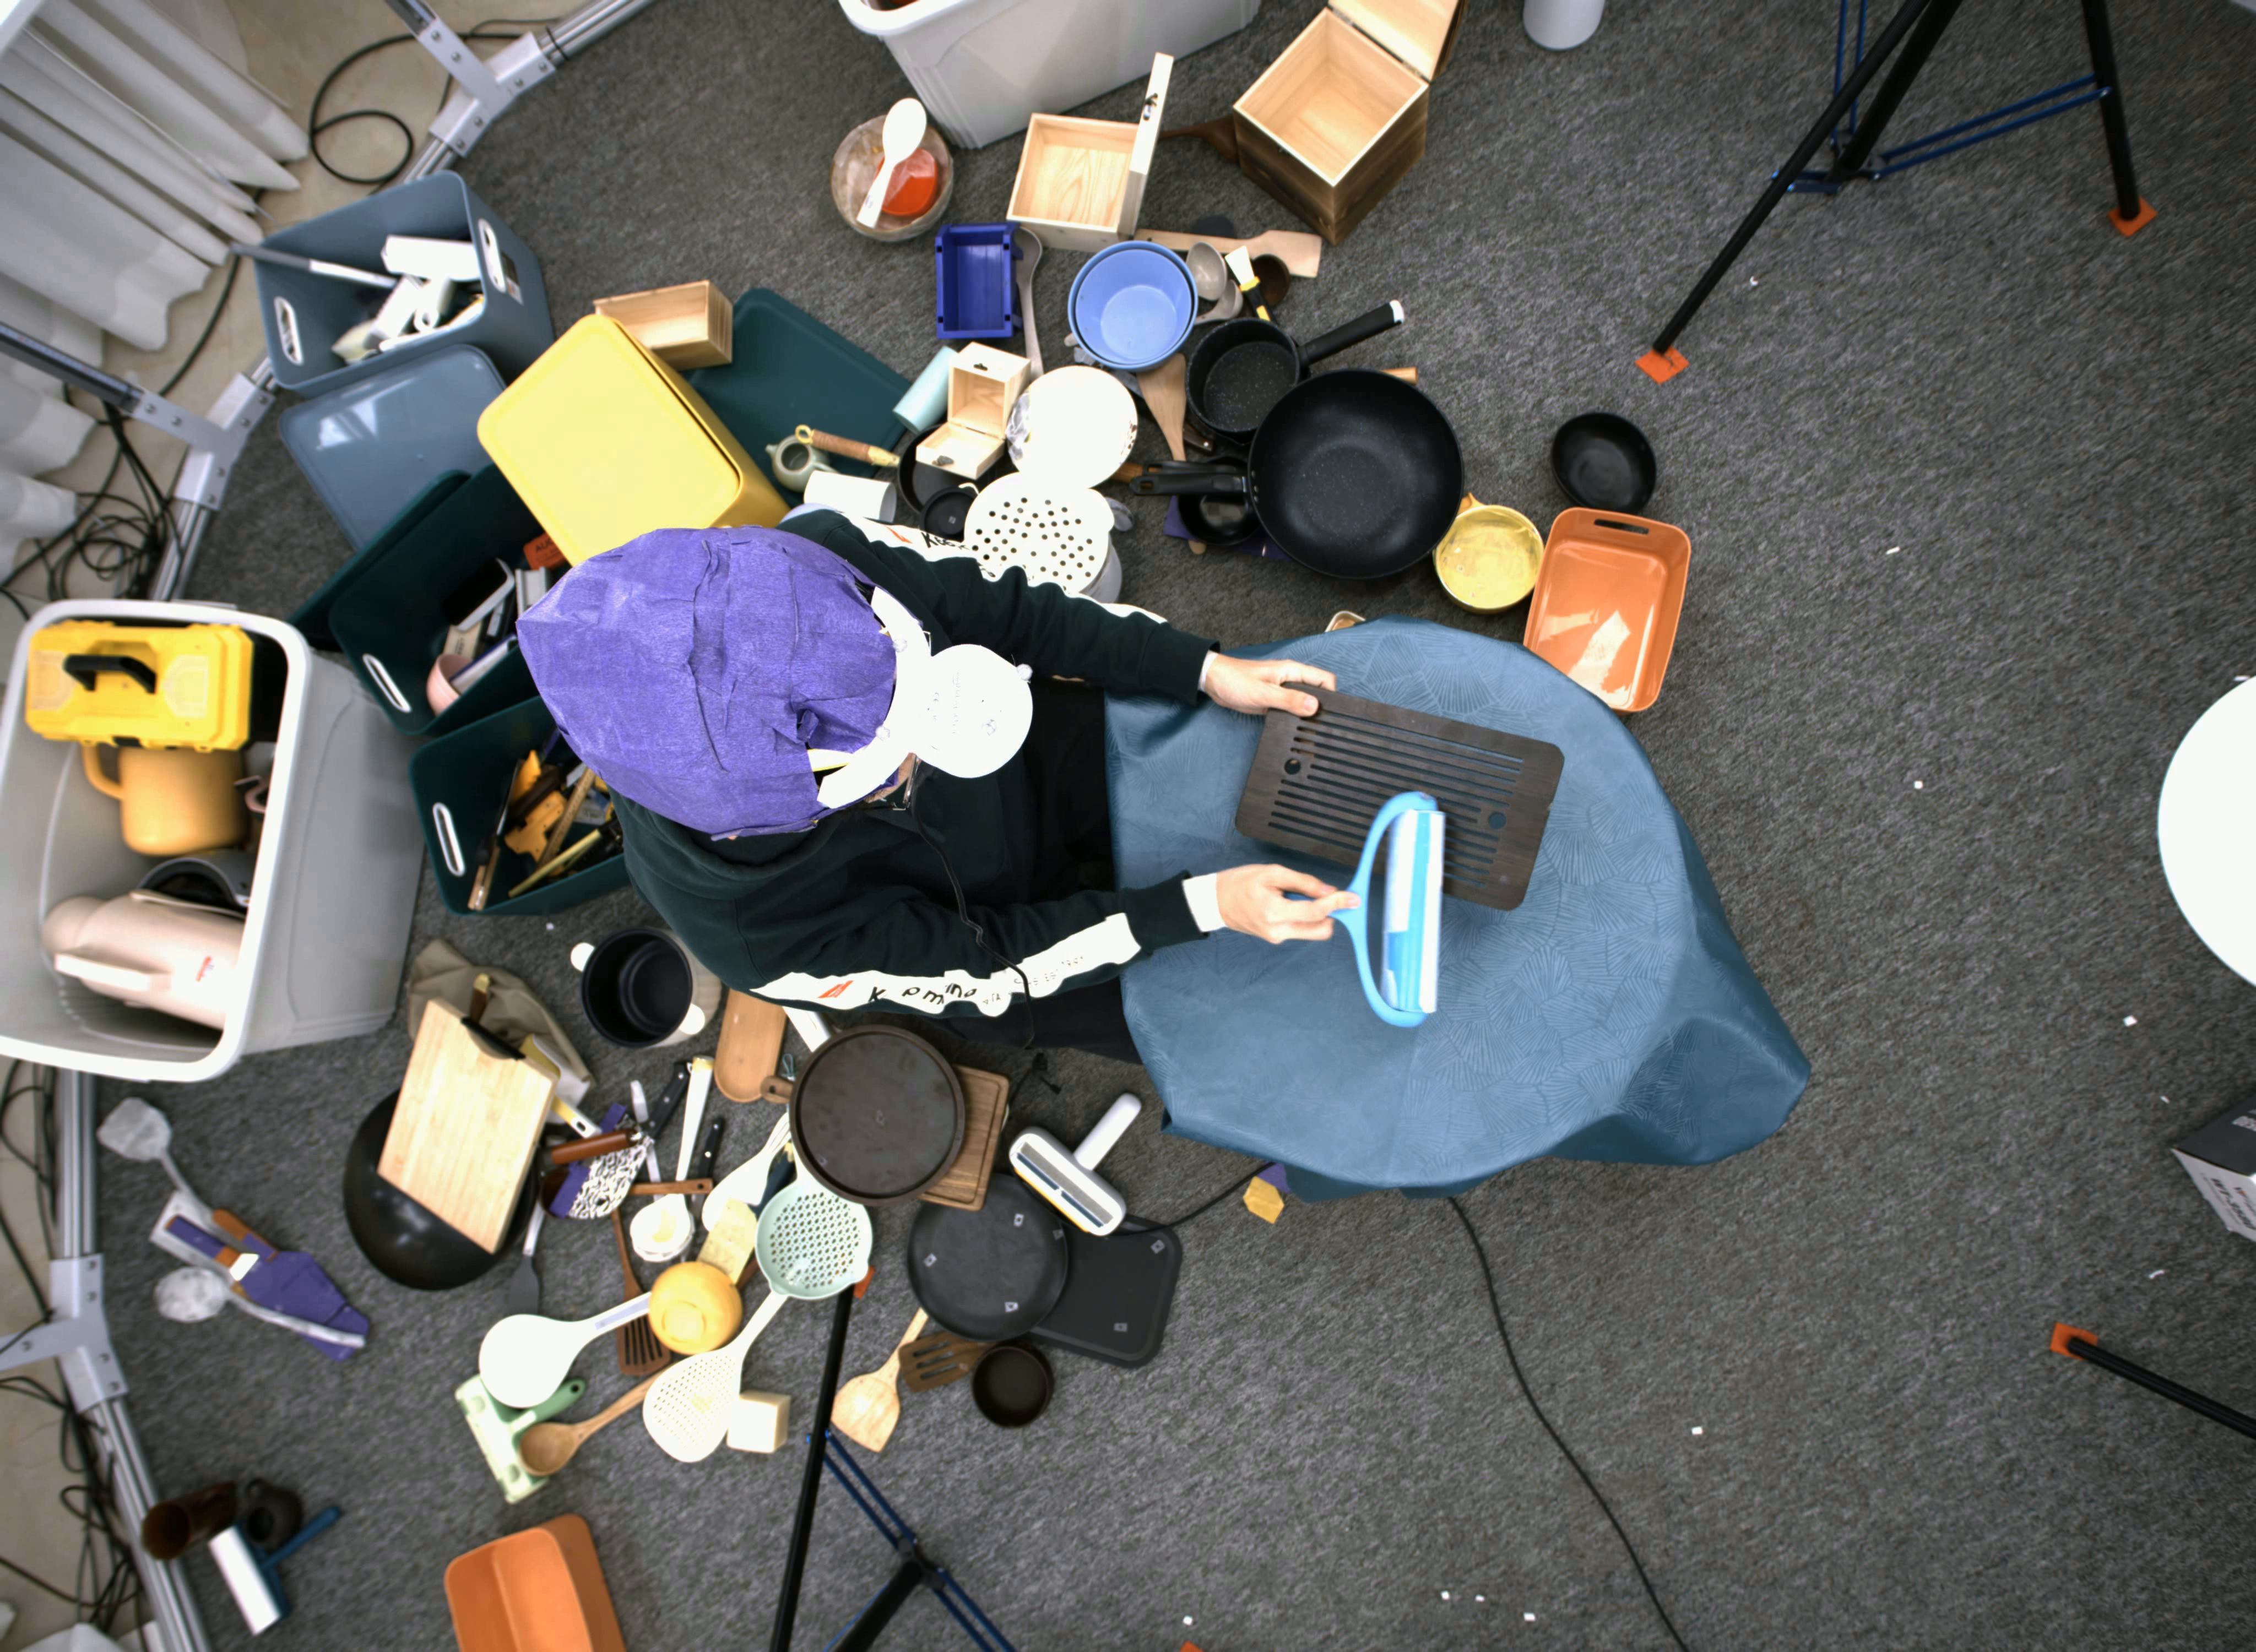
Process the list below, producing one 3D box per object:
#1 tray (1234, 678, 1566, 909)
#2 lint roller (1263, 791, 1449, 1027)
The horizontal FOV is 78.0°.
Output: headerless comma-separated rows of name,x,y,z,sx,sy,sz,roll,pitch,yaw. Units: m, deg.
tray,0.268,-0.038,1.383,0.306,0.018,0.170,16,93,23
lint roller,0.221,0.080,1.344,0.181,0.067,0.229,0,95,8
